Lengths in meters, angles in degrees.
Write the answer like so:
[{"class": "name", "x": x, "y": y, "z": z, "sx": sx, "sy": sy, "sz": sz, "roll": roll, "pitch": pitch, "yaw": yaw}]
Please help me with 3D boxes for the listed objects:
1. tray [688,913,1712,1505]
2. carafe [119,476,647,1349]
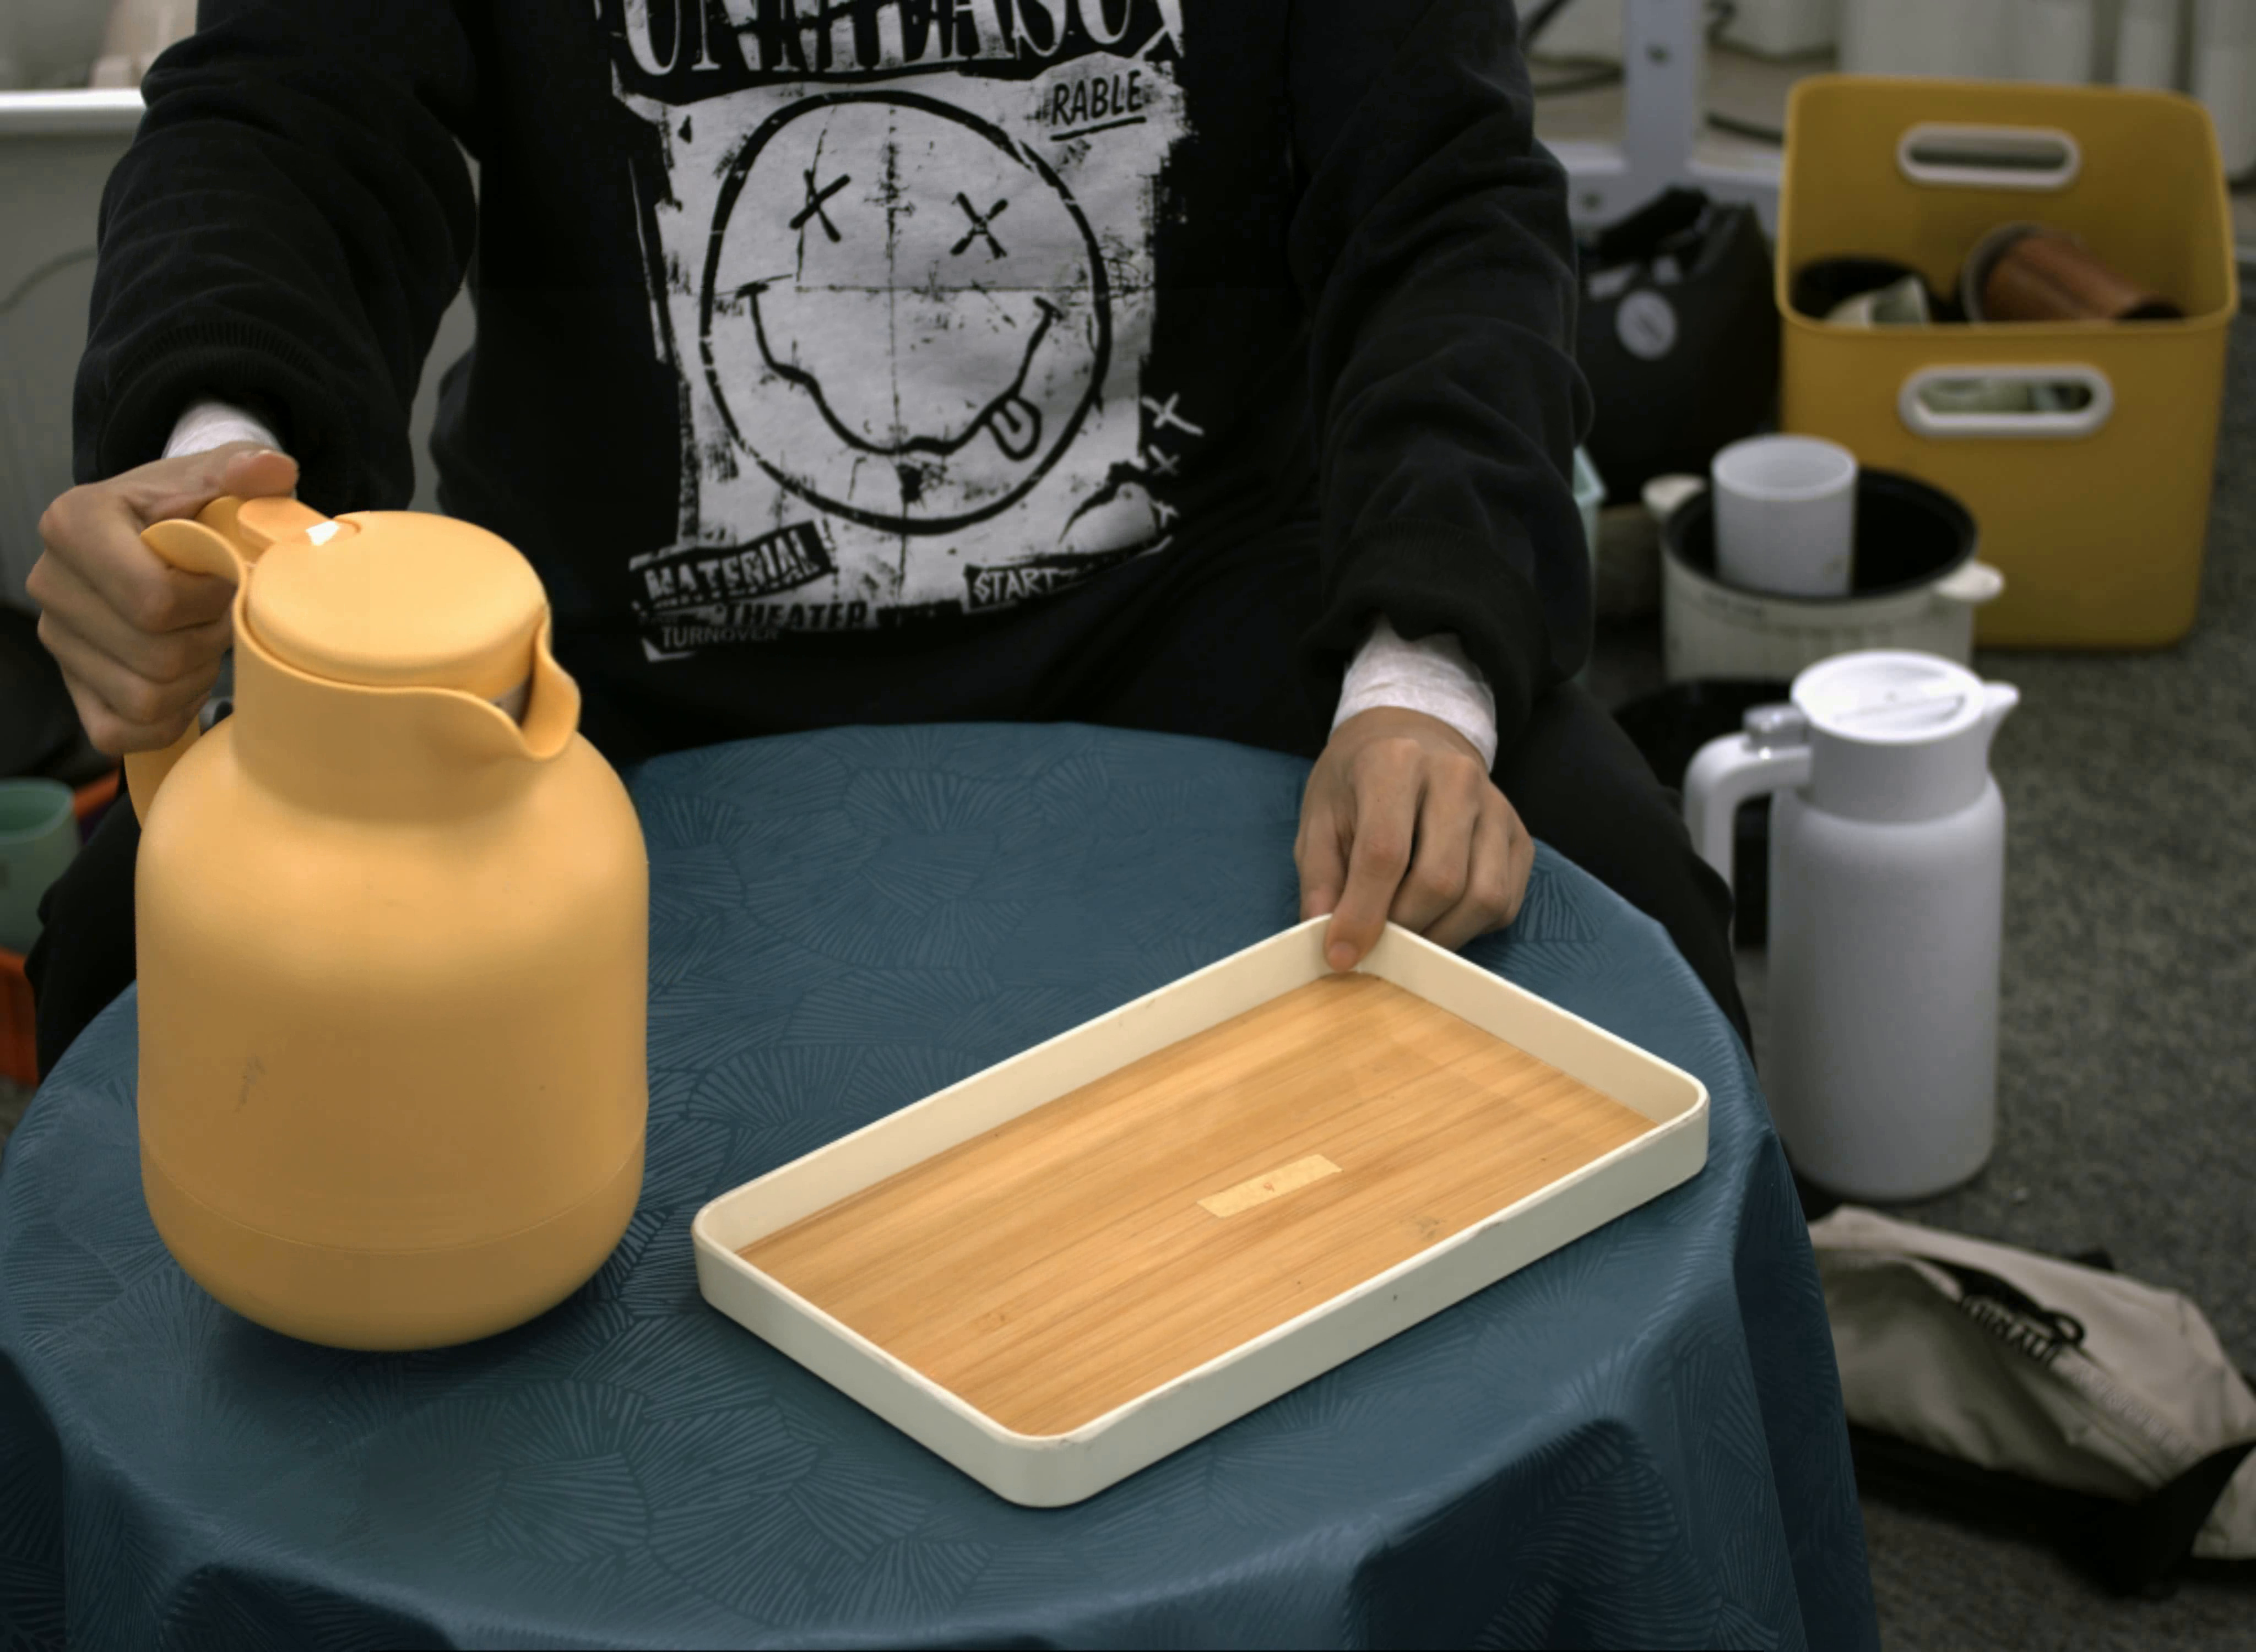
[{"class": "tray", "x": 0.025, "y": 0.119, "z": 1.833, "sx": 0.303, "sy": 0.027, "sz": 0.191, "roll": -23, "pitch": 34, "yaw": -34}, {"class": "carafe", "x": -0.245, "y": 0.017, "z": 1.781, "sx": 0.165, "sy": 0.257, "sz": 0.203, "roll": -21, "pitch": 42, "yaw": -41}]
